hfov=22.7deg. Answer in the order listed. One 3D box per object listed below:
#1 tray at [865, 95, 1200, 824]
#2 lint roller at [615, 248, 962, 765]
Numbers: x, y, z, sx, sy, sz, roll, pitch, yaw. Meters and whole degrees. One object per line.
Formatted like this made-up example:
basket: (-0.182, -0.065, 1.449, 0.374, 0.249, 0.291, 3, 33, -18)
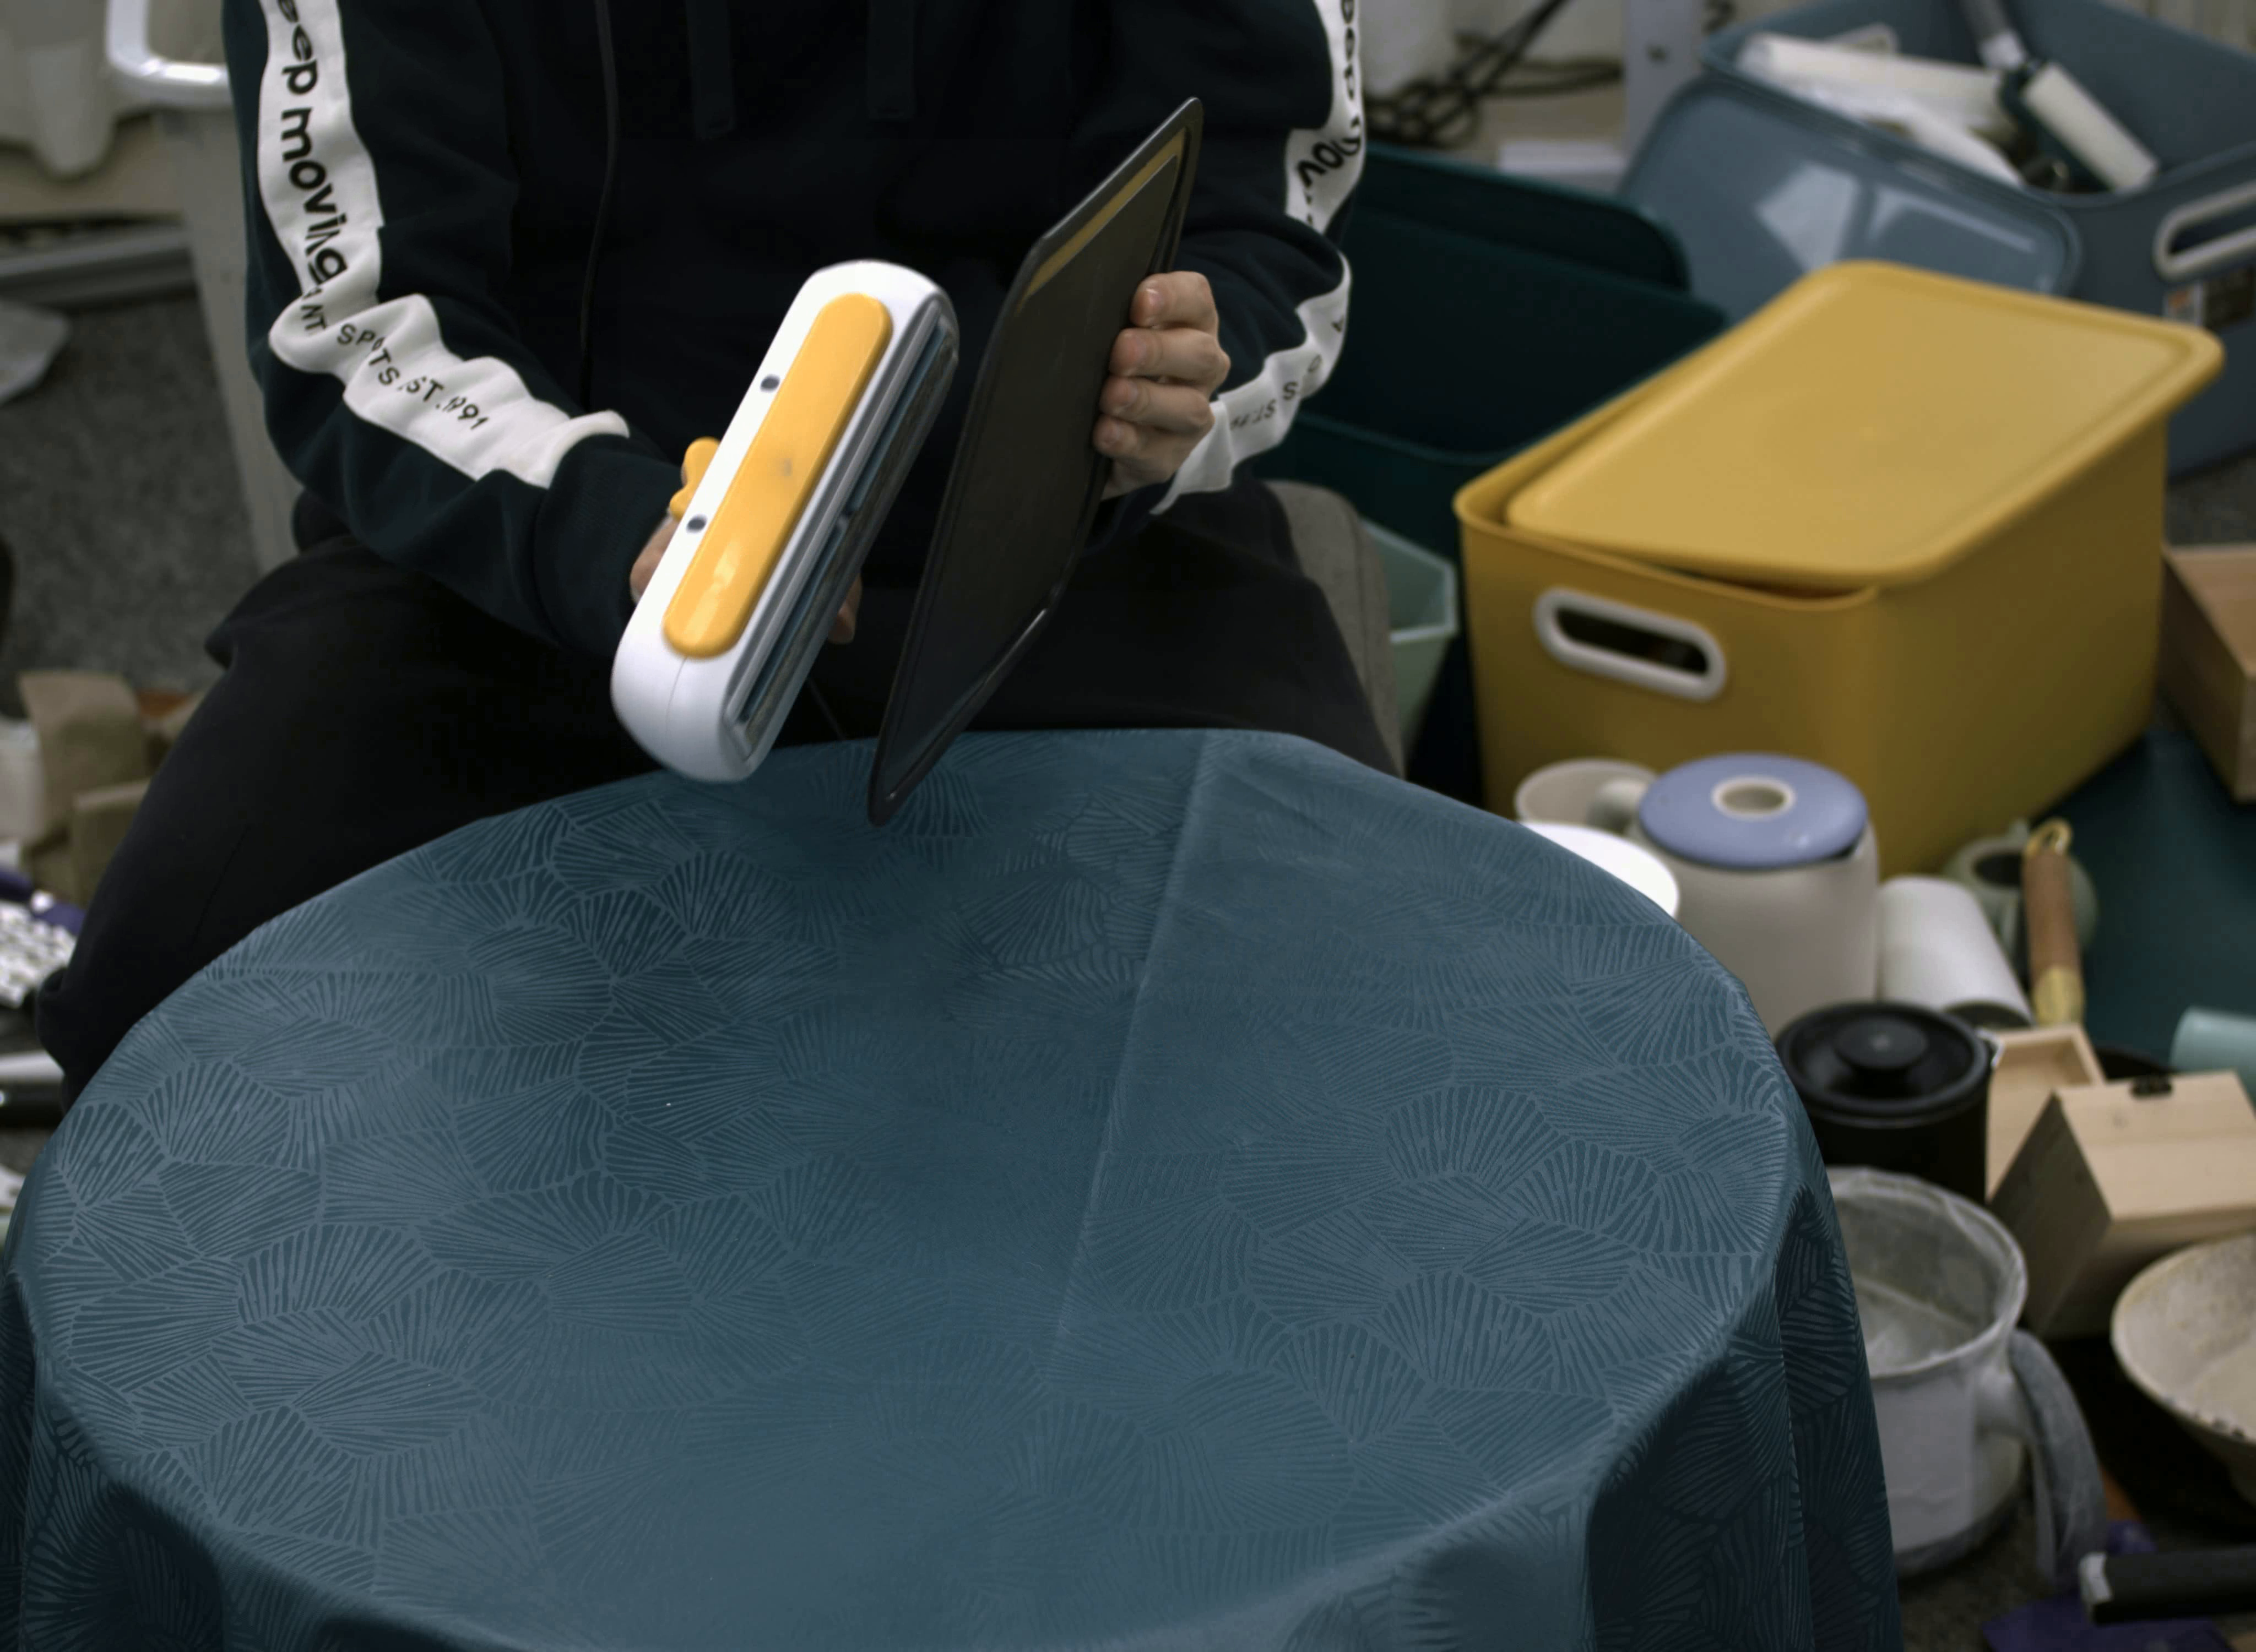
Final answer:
tray: (-0.026, -0.133, 1.936, 0.010, 0.209, 0.329, 18, 21, 7)
lint roller: (-0.119, -0.085, 1.961, 0.074, 0.190, 0.196, 17, 64, 10)
